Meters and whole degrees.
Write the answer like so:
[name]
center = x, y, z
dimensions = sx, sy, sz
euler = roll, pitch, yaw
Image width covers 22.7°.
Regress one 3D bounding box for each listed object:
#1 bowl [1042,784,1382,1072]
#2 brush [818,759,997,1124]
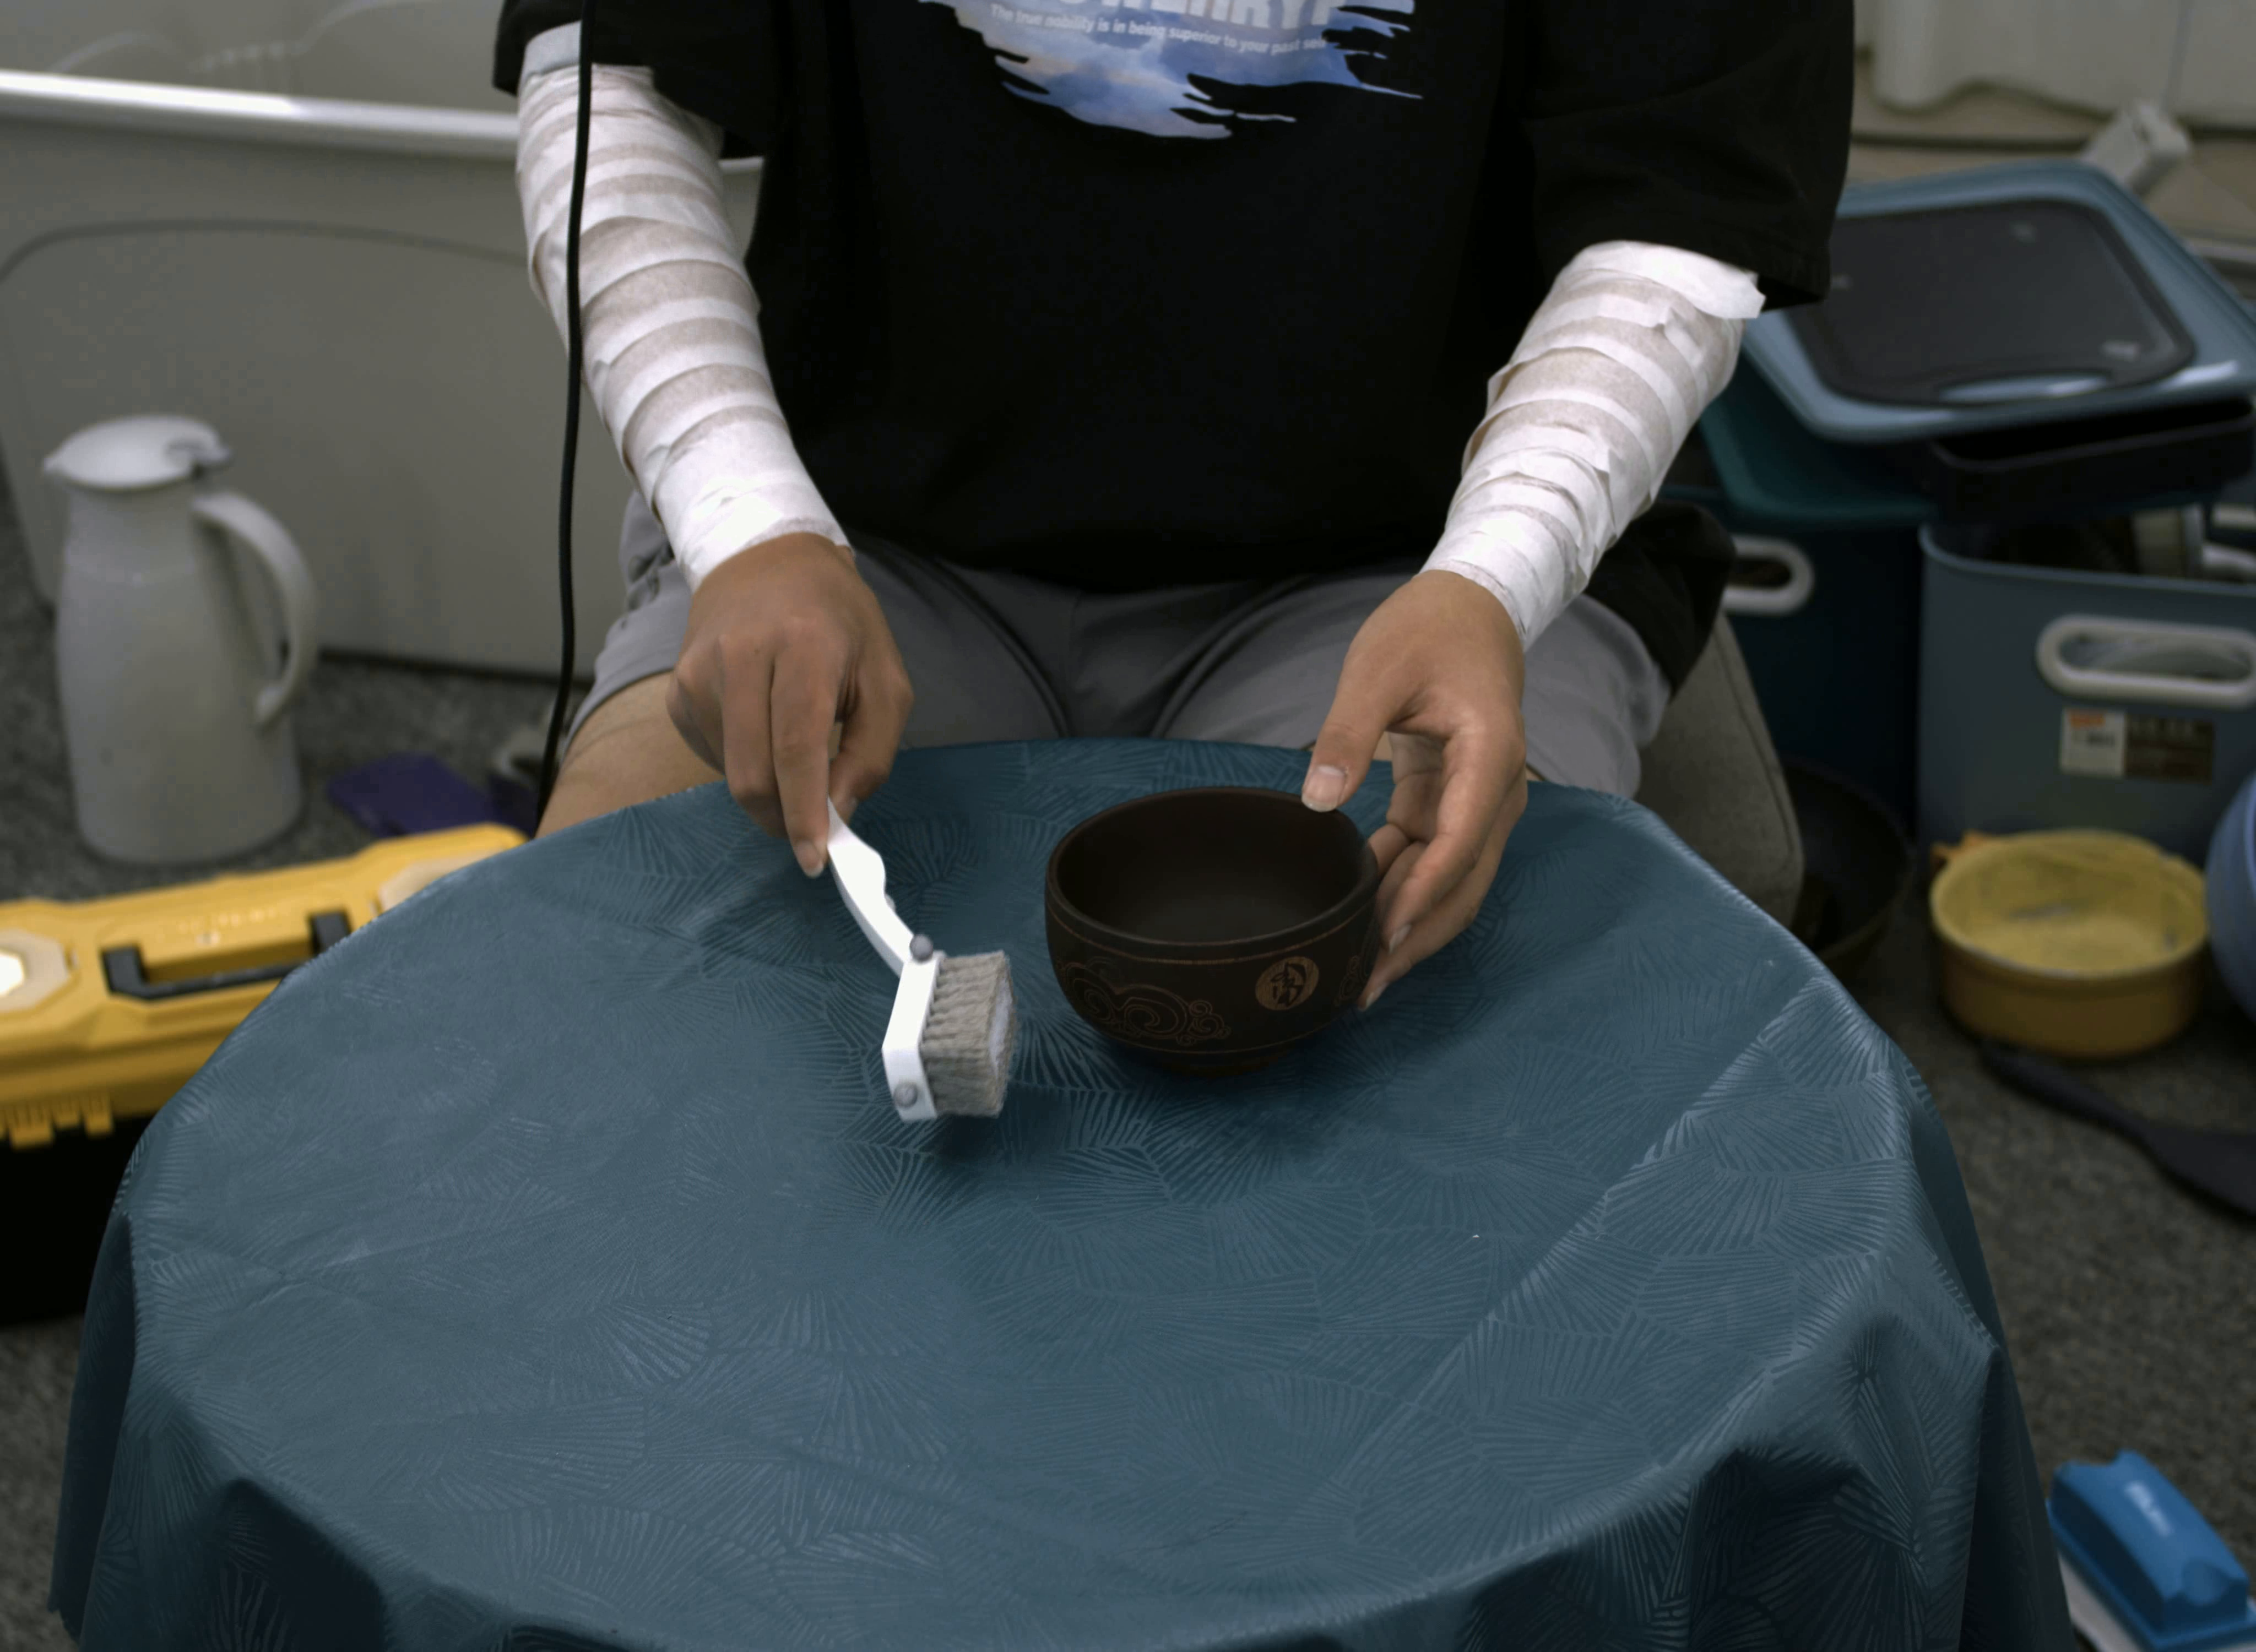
[bowl]
center = 0.030, 0.041, 1.936
dimensions = 0.117, 0.069, 0.120
euler = -3, 25, 2
[brush]
center = -0.077, 0.034, 1.966
dimensions = 0.050, 0.034, 0.247
euler = -13, 27, -1
